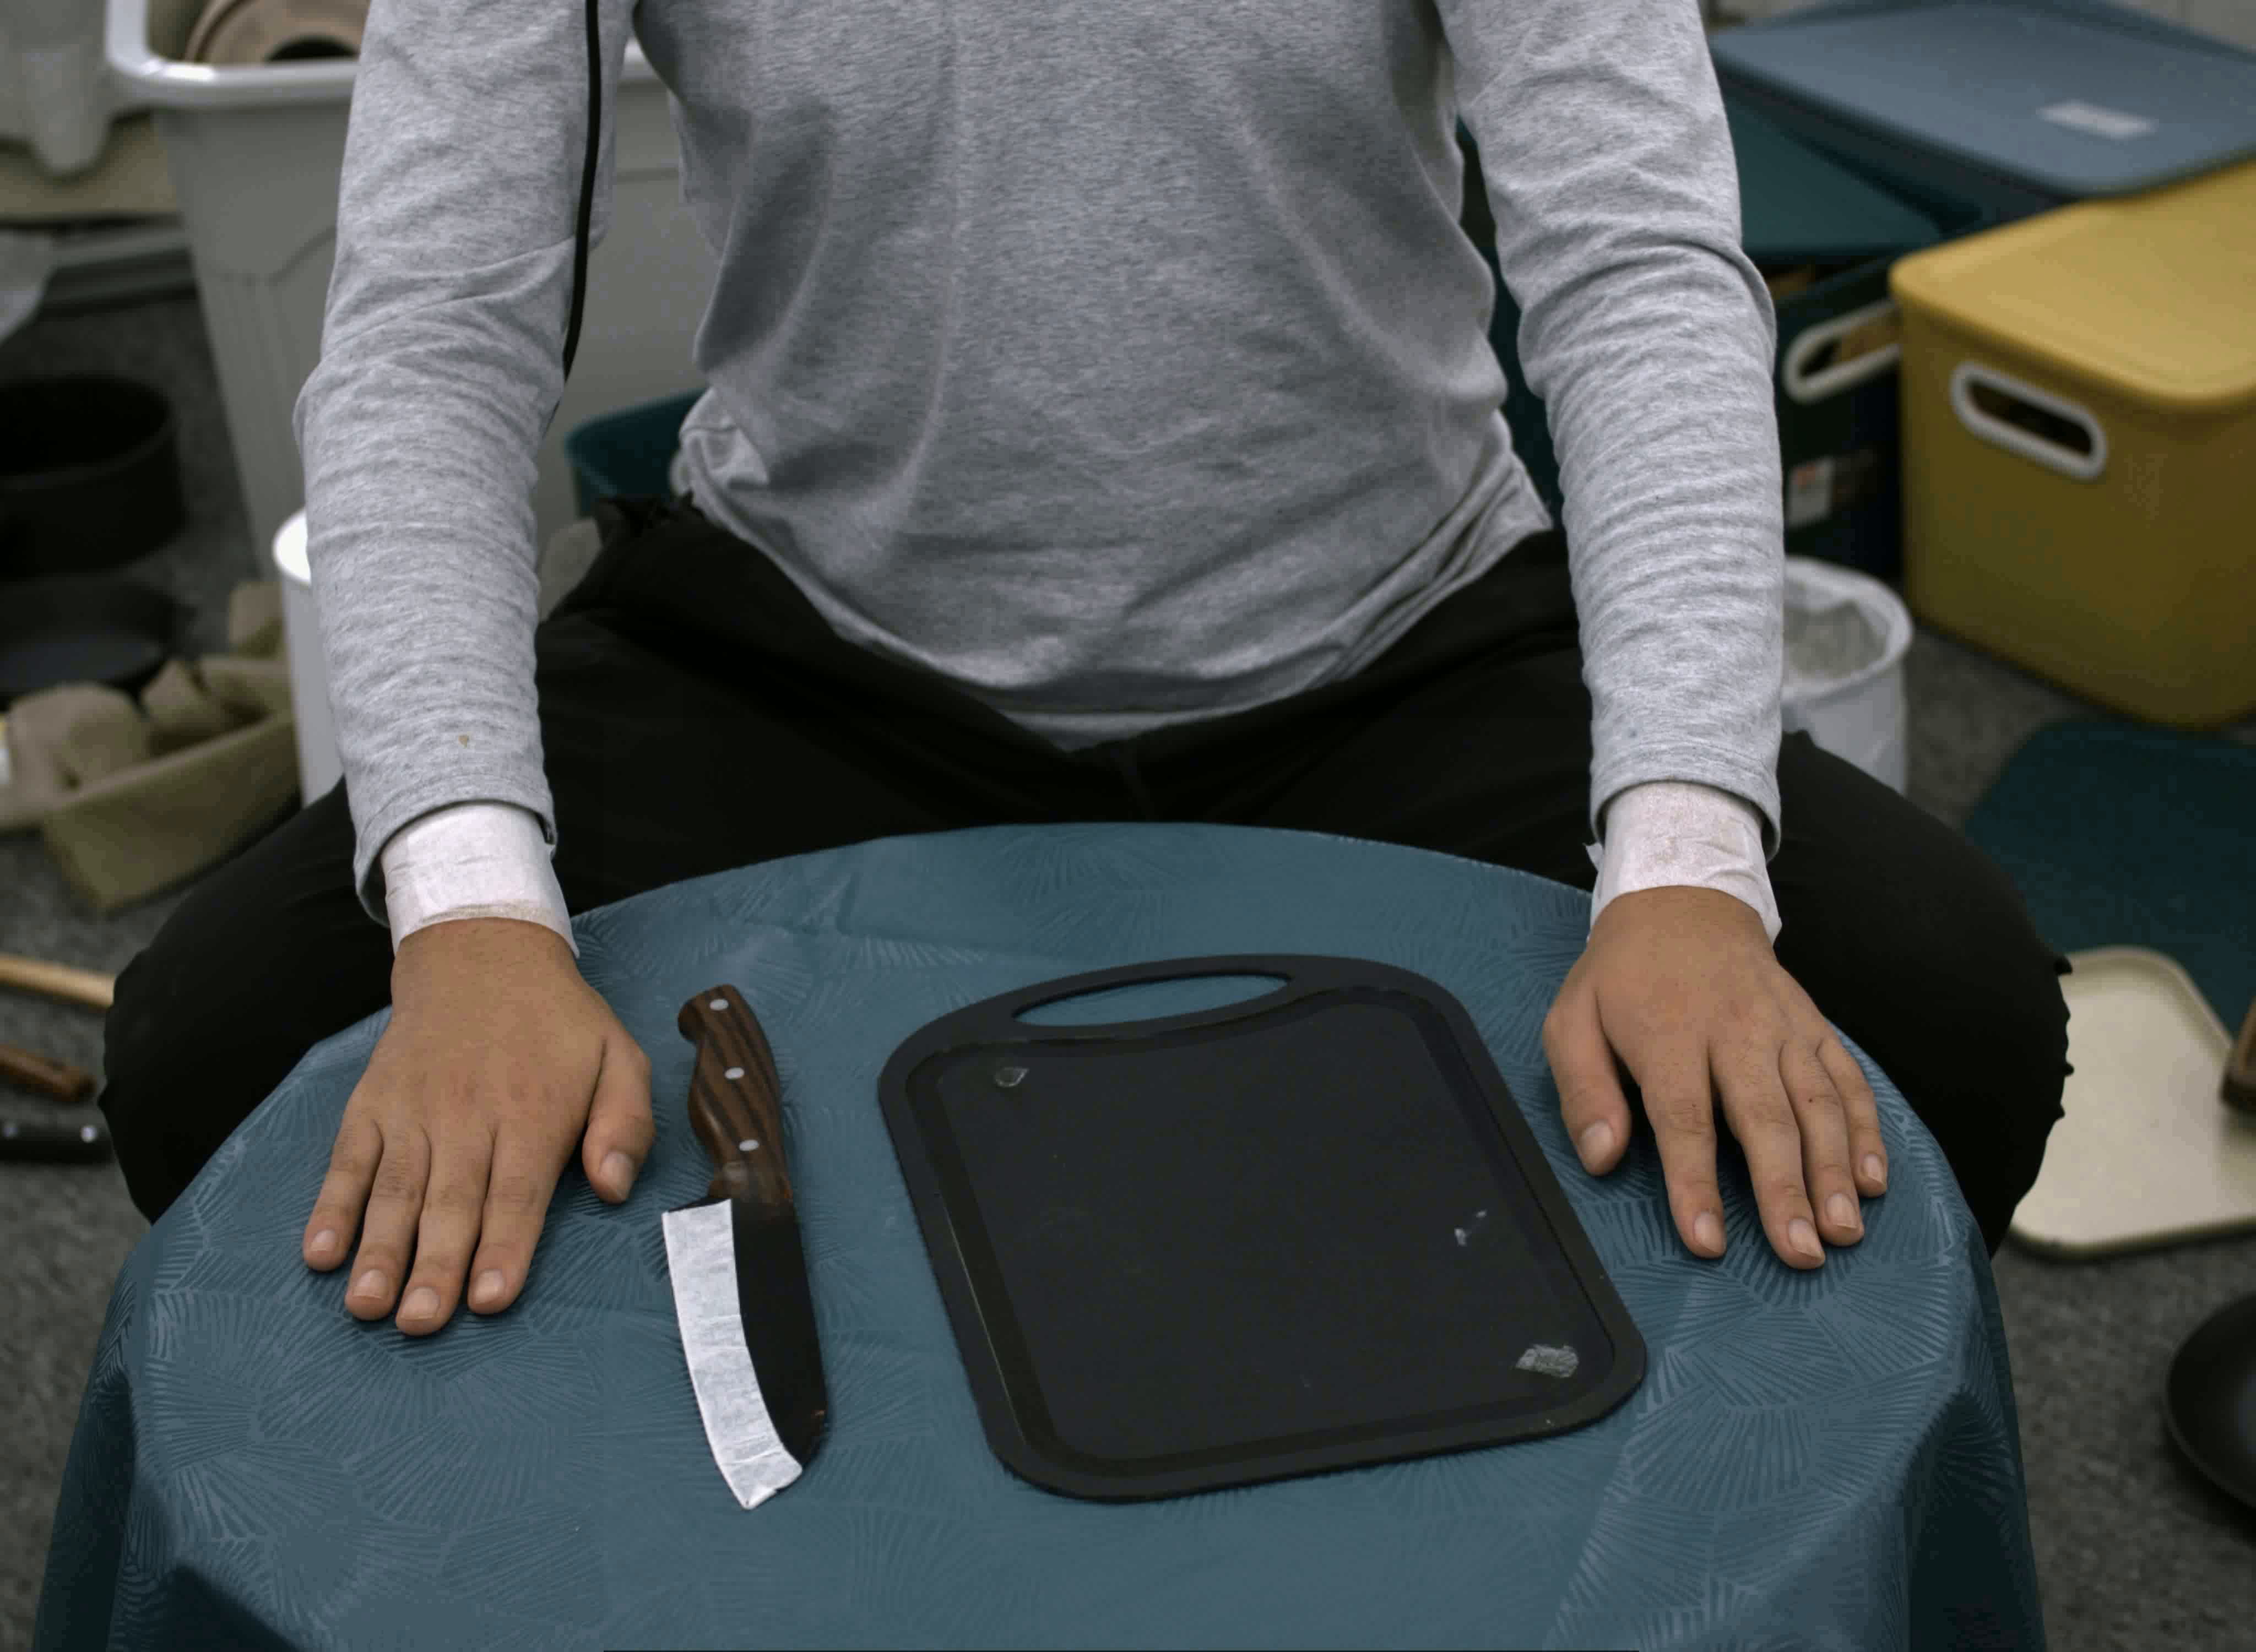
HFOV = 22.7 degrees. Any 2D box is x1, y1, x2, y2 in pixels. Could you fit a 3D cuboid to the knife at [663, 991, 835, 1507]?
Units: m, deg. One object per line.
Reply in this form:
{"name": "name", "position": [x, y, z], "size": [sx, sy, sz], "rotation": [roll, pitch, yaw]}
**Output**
{"name": "knife", "position": [-0.127, 0.136, 1.830], "size": [0.050, 0.020, 0.293], "rotation": [-10, 30, -2]}

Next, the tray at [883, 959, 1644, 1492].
{"name": "tray", "position": [0.036, 0.122, 1.852], "size": [0.211, 0.009, 0.329], "rotation": [-7, 27, -9]}
